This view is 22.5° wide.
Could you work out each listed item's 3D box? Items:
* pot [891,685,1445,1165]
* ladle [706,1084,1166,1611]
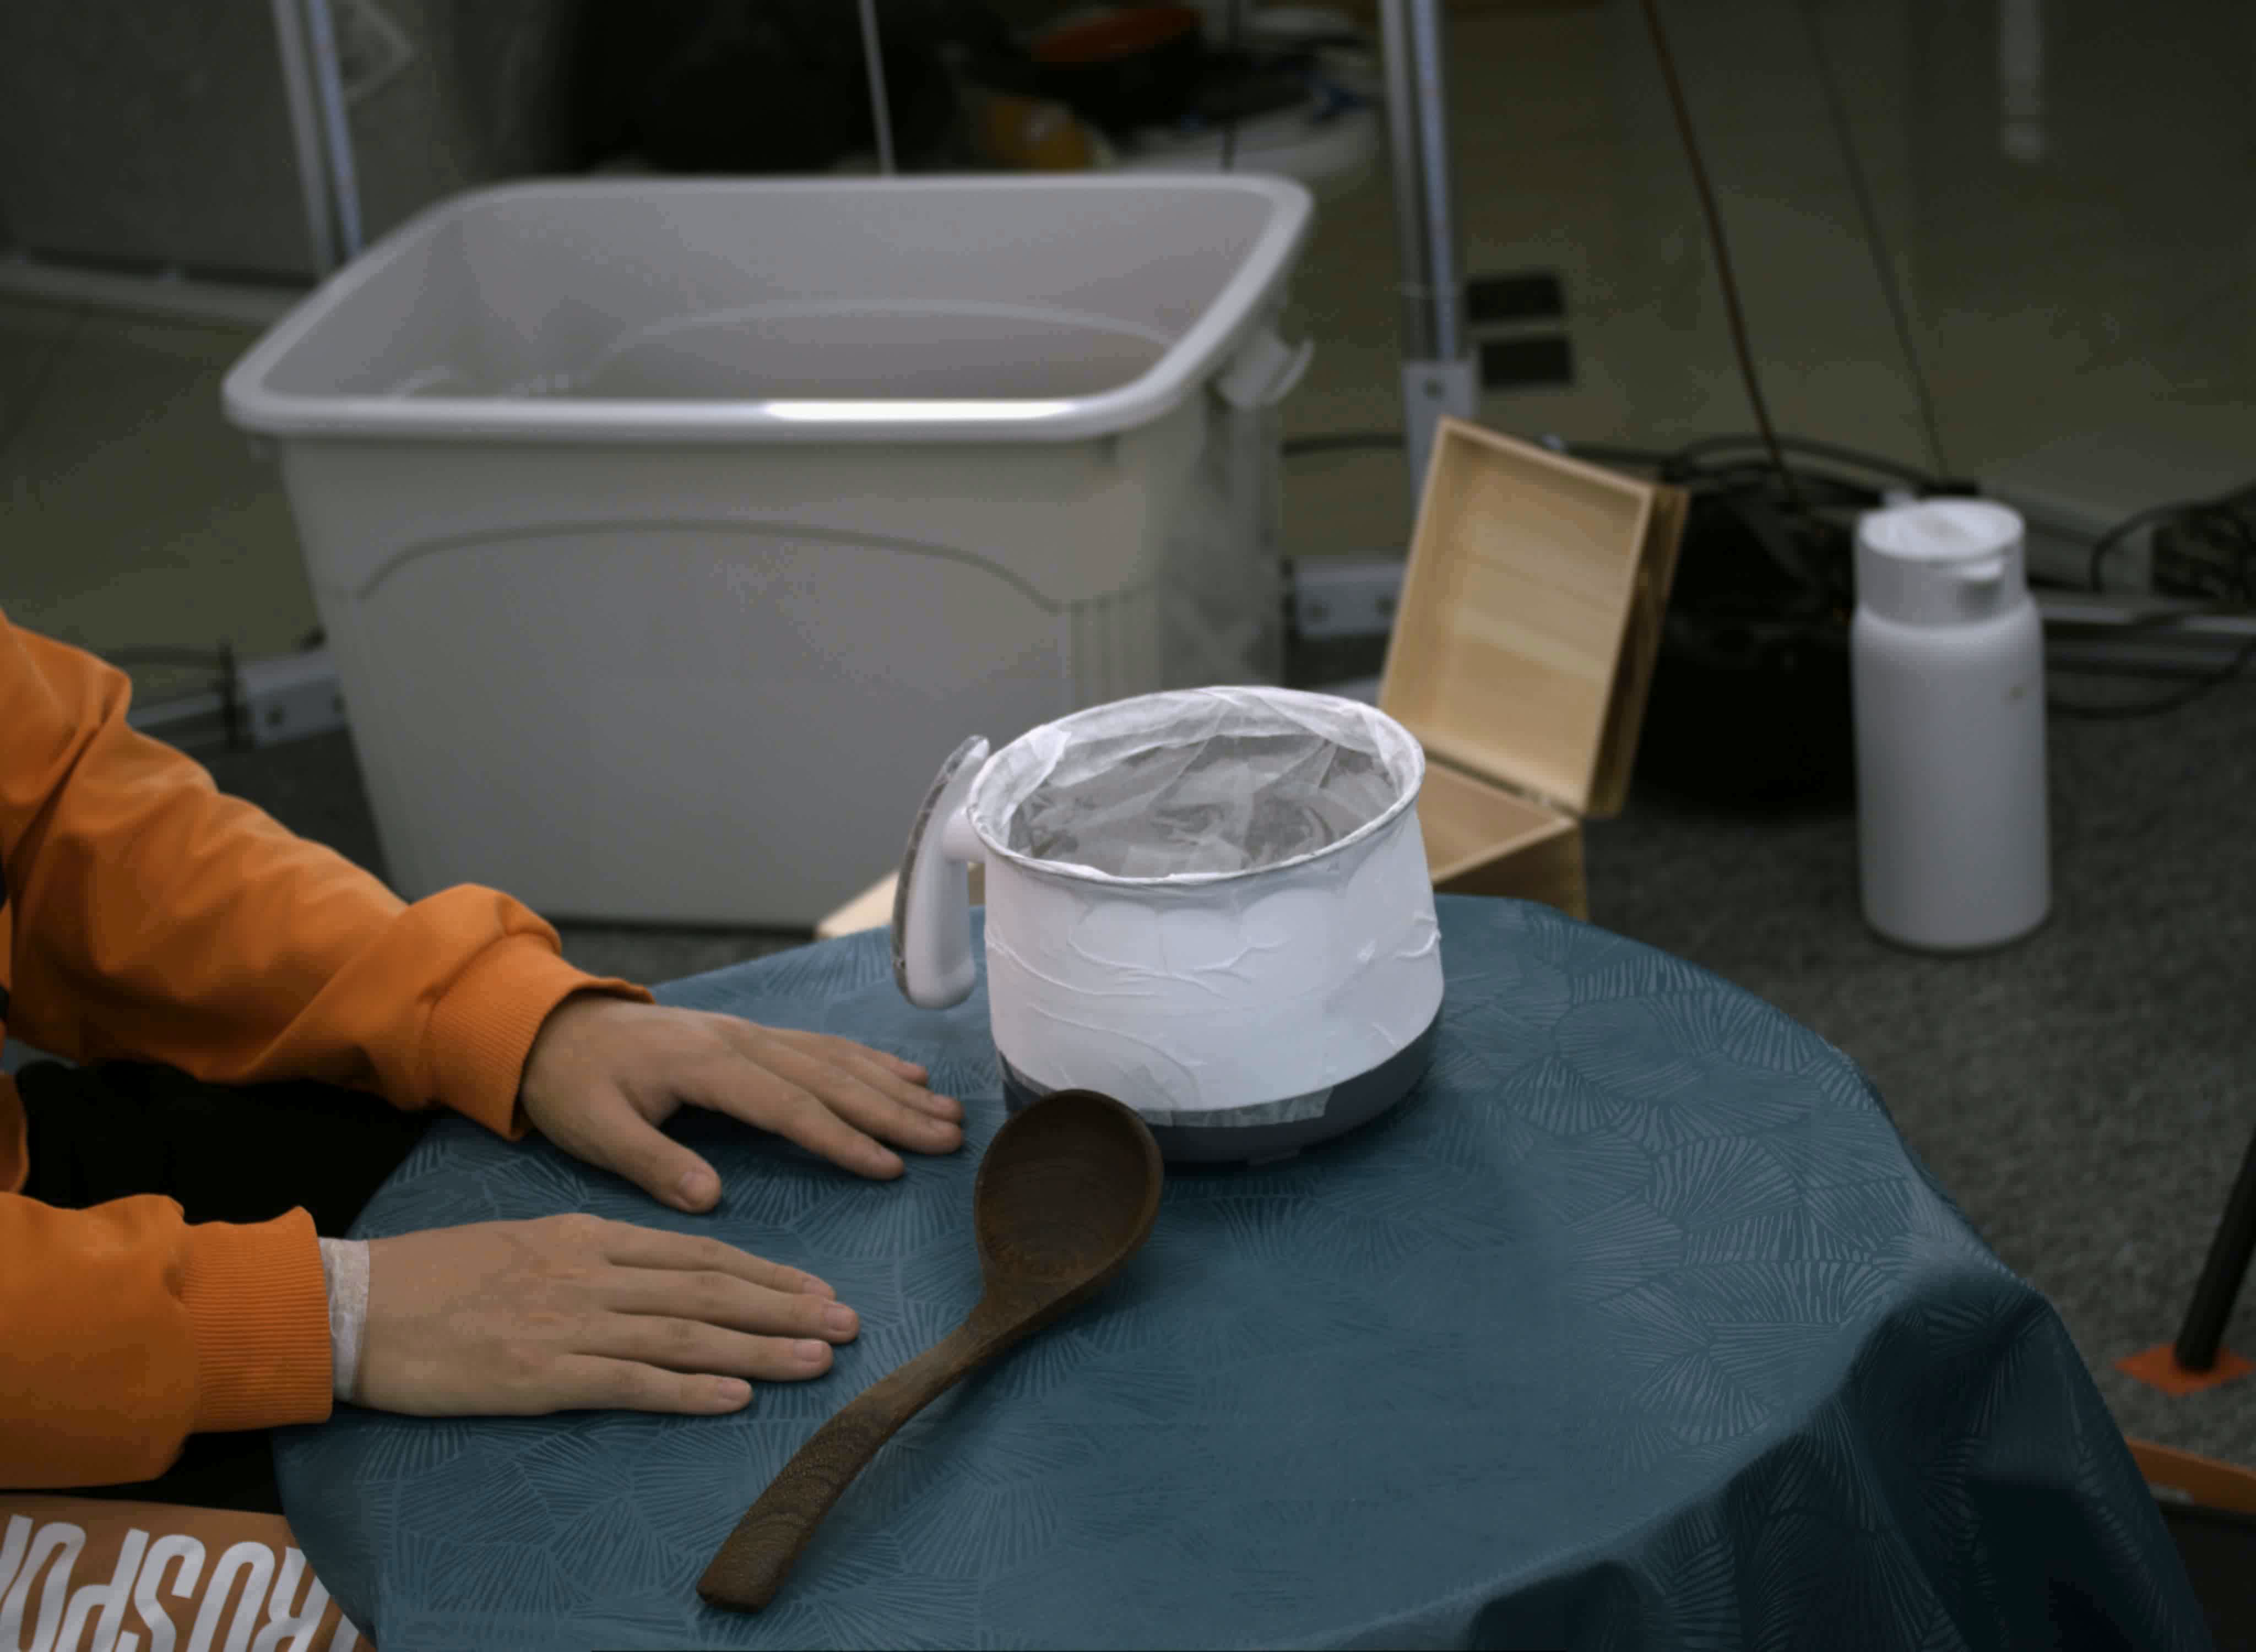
[{"bbox_3d":[0.008,0.036,2.200,0.233,0.139,0.176,8,29,28],"label":"pot"},{"bbox_3d":[-0.072,0.177,1.999,0.076,0.072,0.271,6,27,30],"label":"ladle"}]
